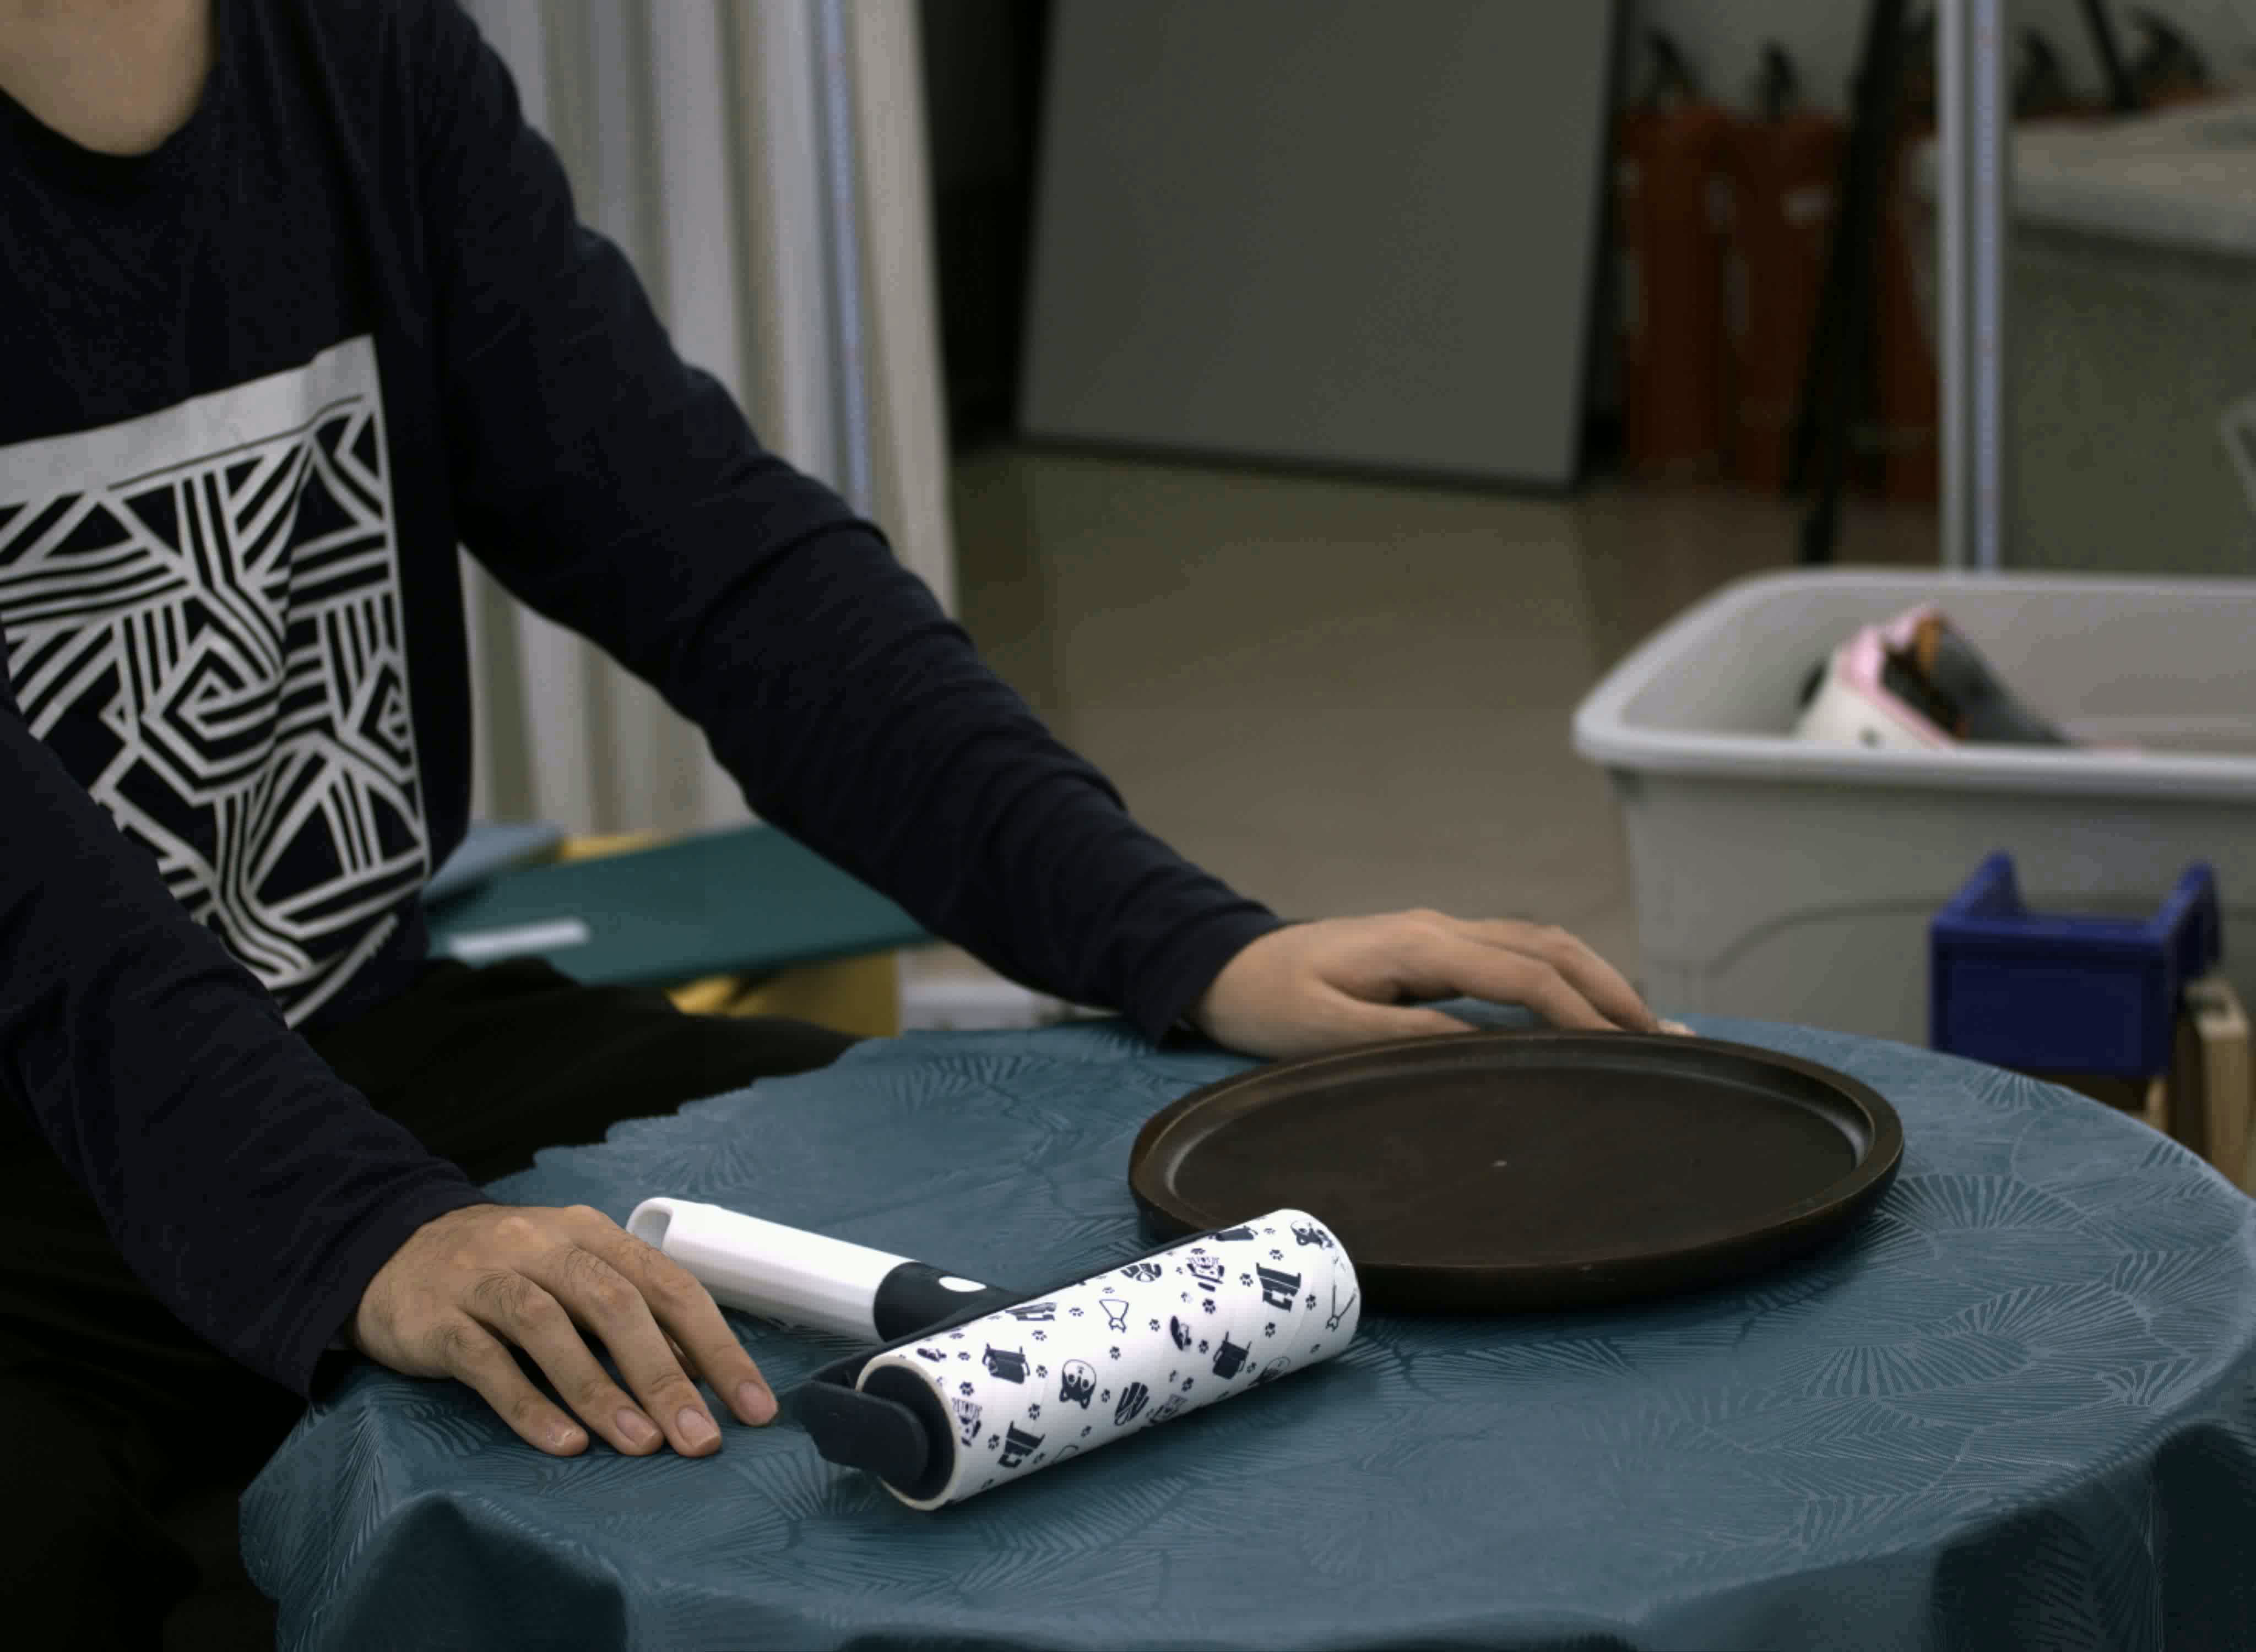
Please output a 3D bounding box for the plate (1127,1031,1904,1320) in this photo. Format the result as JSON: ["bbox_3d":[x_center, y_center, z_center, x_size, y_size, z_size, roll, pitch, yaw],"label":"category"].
[{"bbox_3d":[0.125,0.111,1.735,0.251,0.029,0.255,-5,12,0],"label":"plate"}]

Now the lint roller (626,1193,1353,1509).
[{"bbox_3d":[-0.074,0.142,1.624,0.172,0.051,0.249,-17,16,-40],"label":"lint roller"}]
